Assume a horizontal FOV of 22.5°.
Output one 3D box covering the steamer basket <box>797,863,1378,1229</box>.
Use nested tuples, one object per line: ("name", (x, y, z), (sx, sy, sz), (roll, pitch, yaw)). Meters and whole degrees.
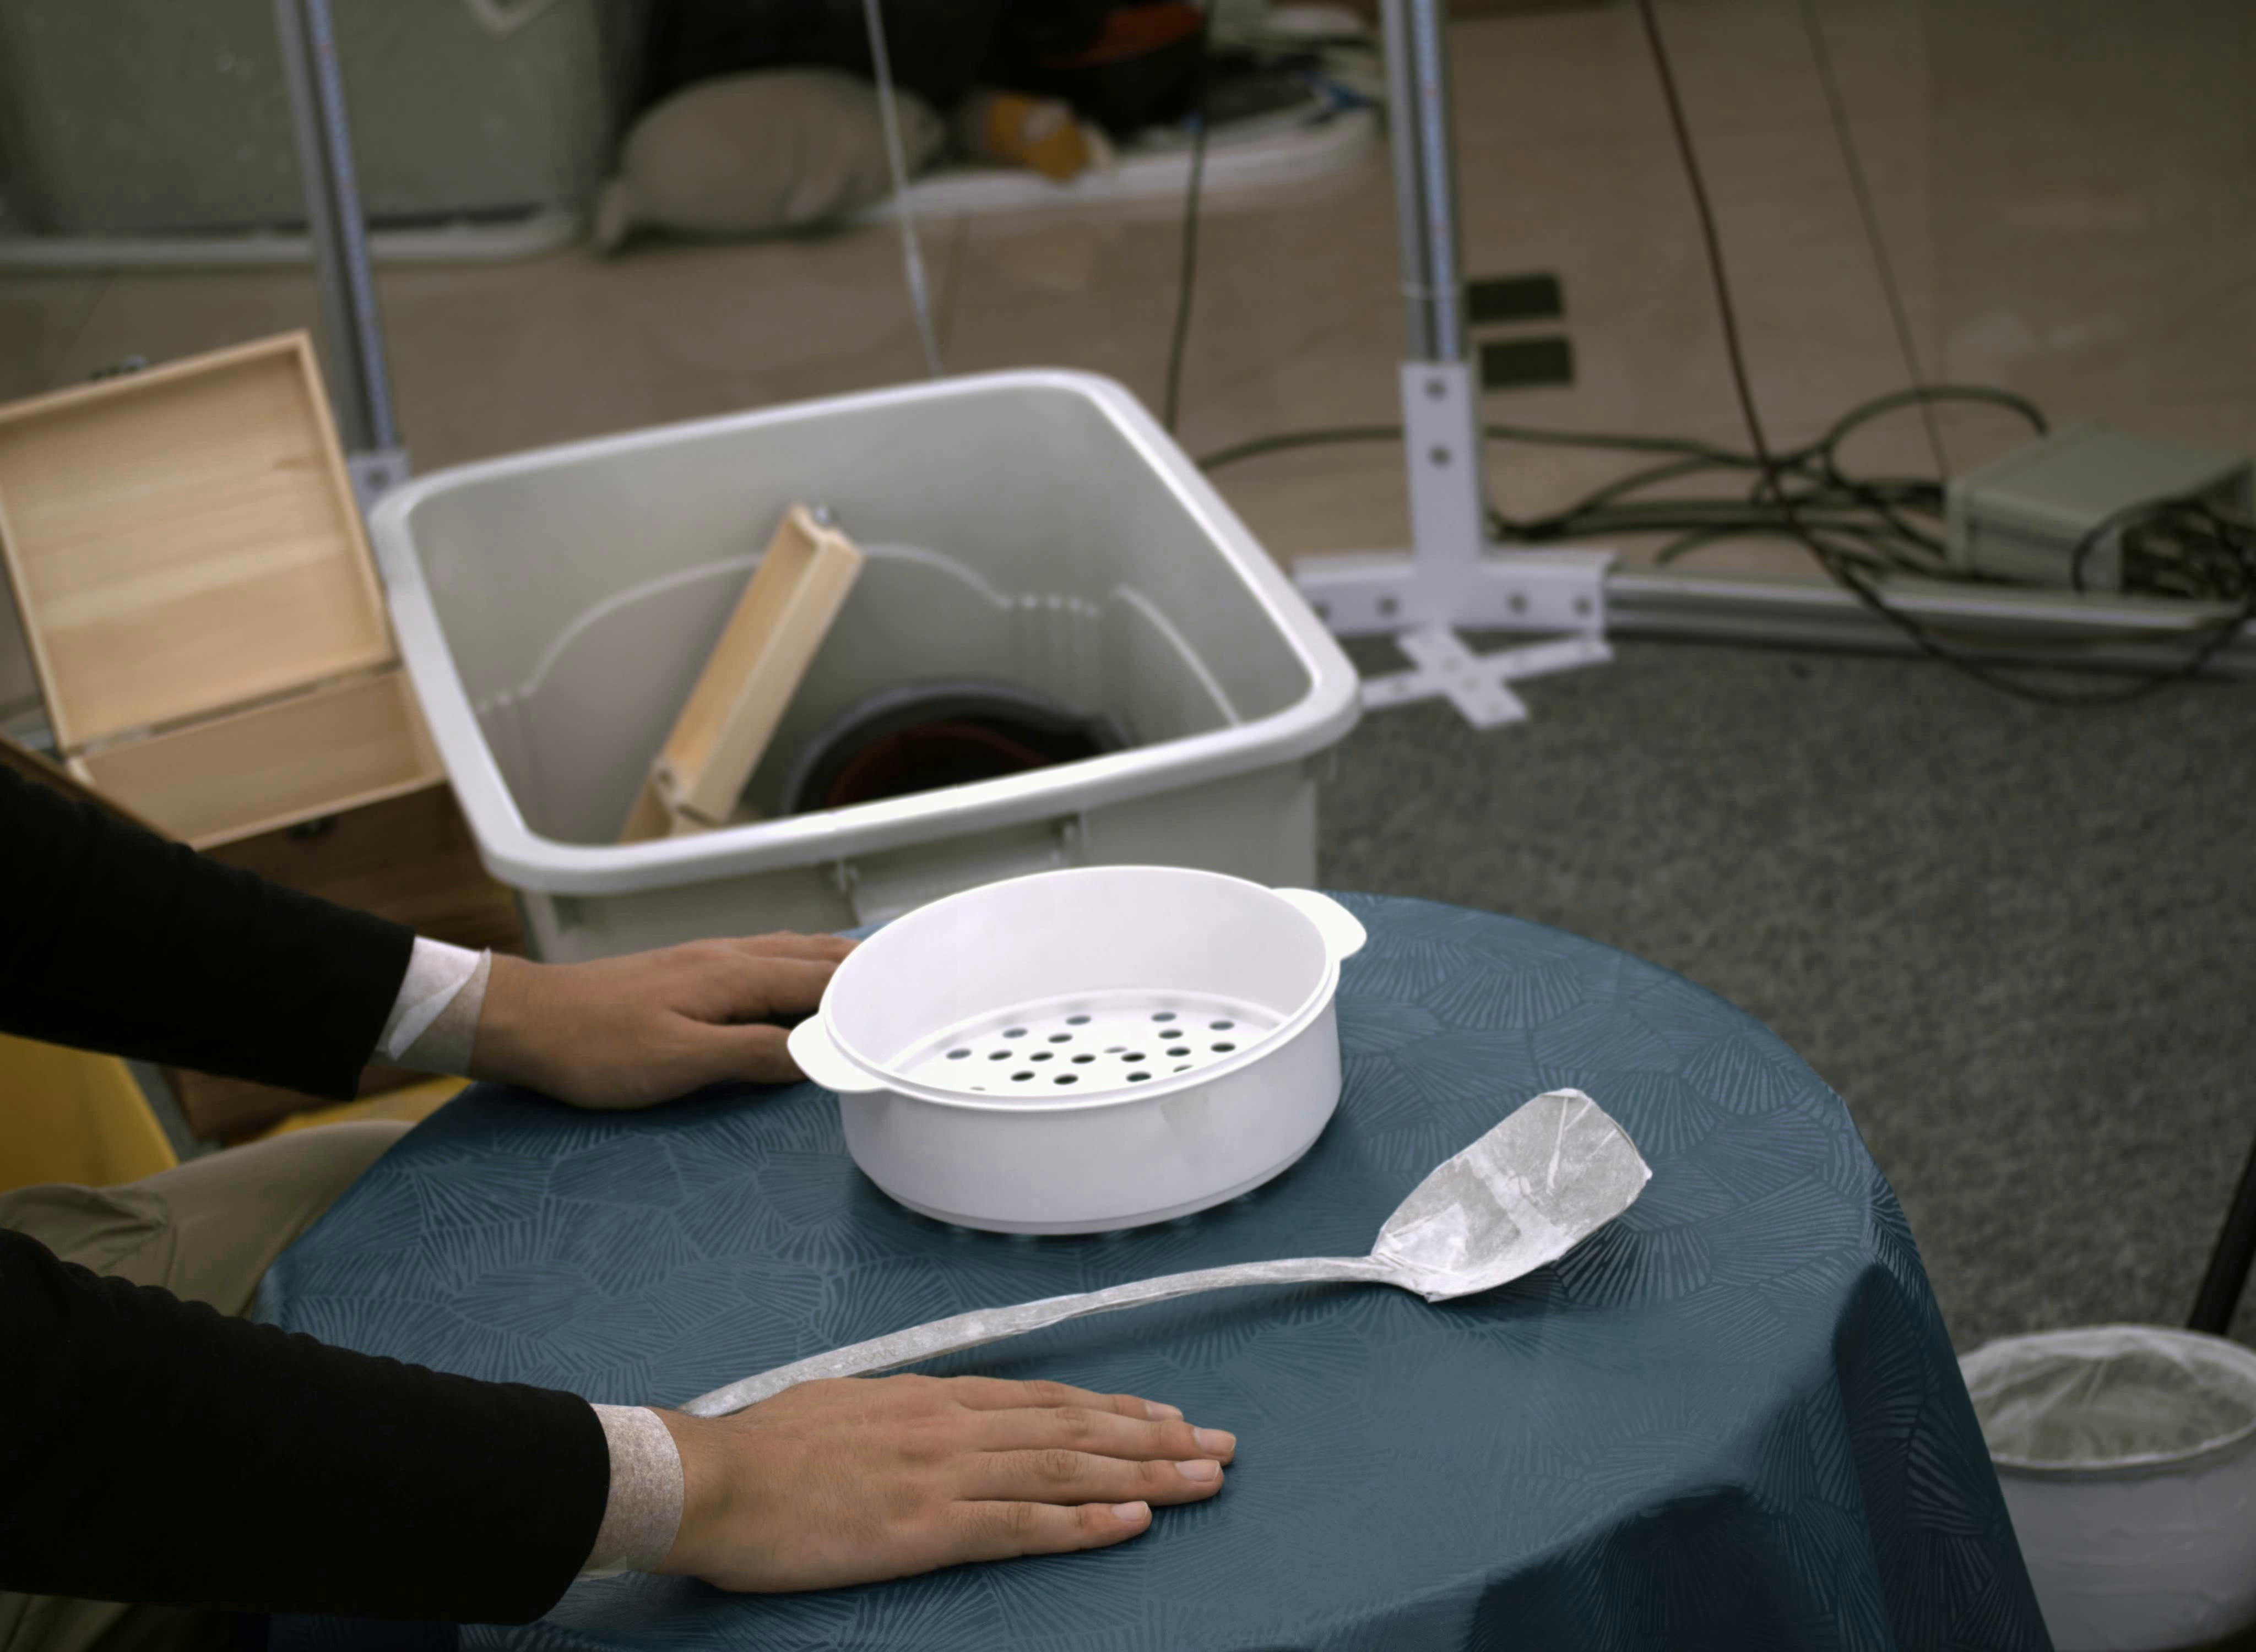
("steamer basket", (-0.011, 0.085, 2.183), (0.230, 0.070, 0.199), (-16, 26, -17))

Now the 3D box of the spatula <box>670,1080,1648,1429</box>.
("spatula", (0.011, 0.163, 2.049), (0.364, 0.045, 0.097), (-11, 27, -10))
